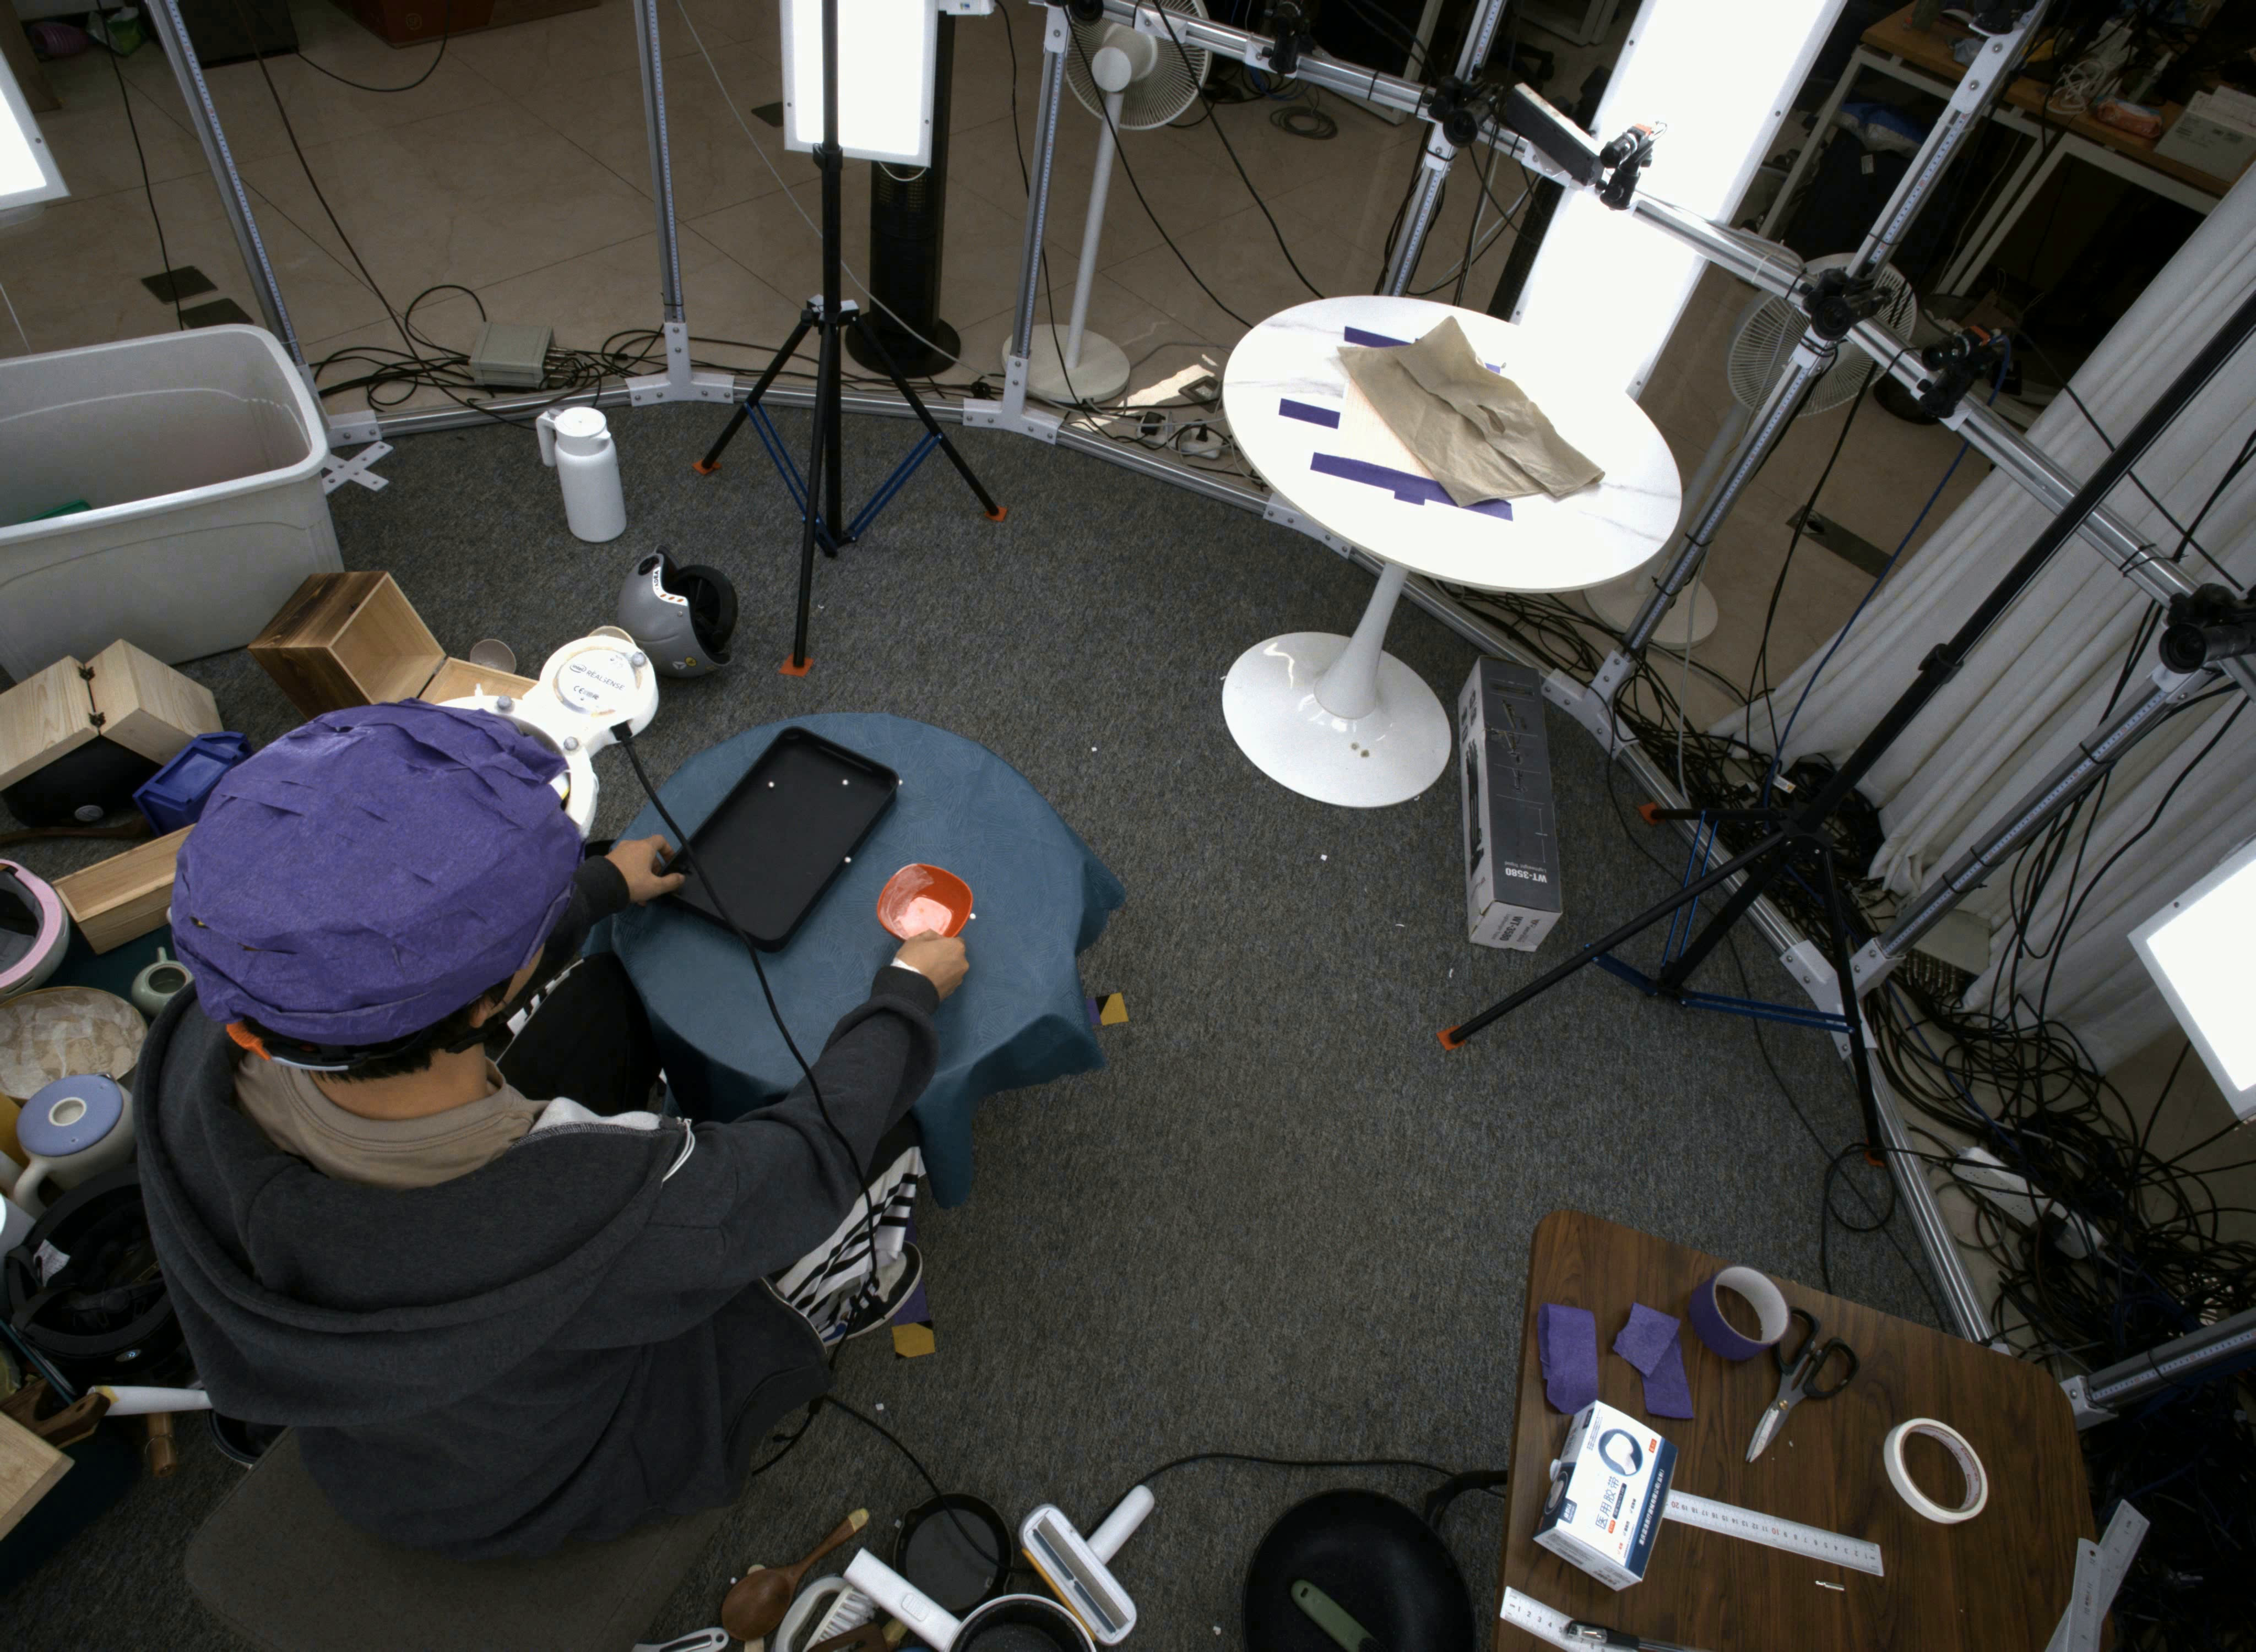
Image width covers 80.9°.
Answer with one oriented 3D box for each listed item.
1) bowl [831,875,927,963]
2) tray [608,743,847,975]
[{"bbox_3d":[-0.304,0.120,1.592,0.119,0.052,0.117,7,56,-9],"label":"bowl"},{"bbox_3d":[-0.507,0.033,1.657,0.182,0.038,0.315,23,51,3],"label":"tray"}]
